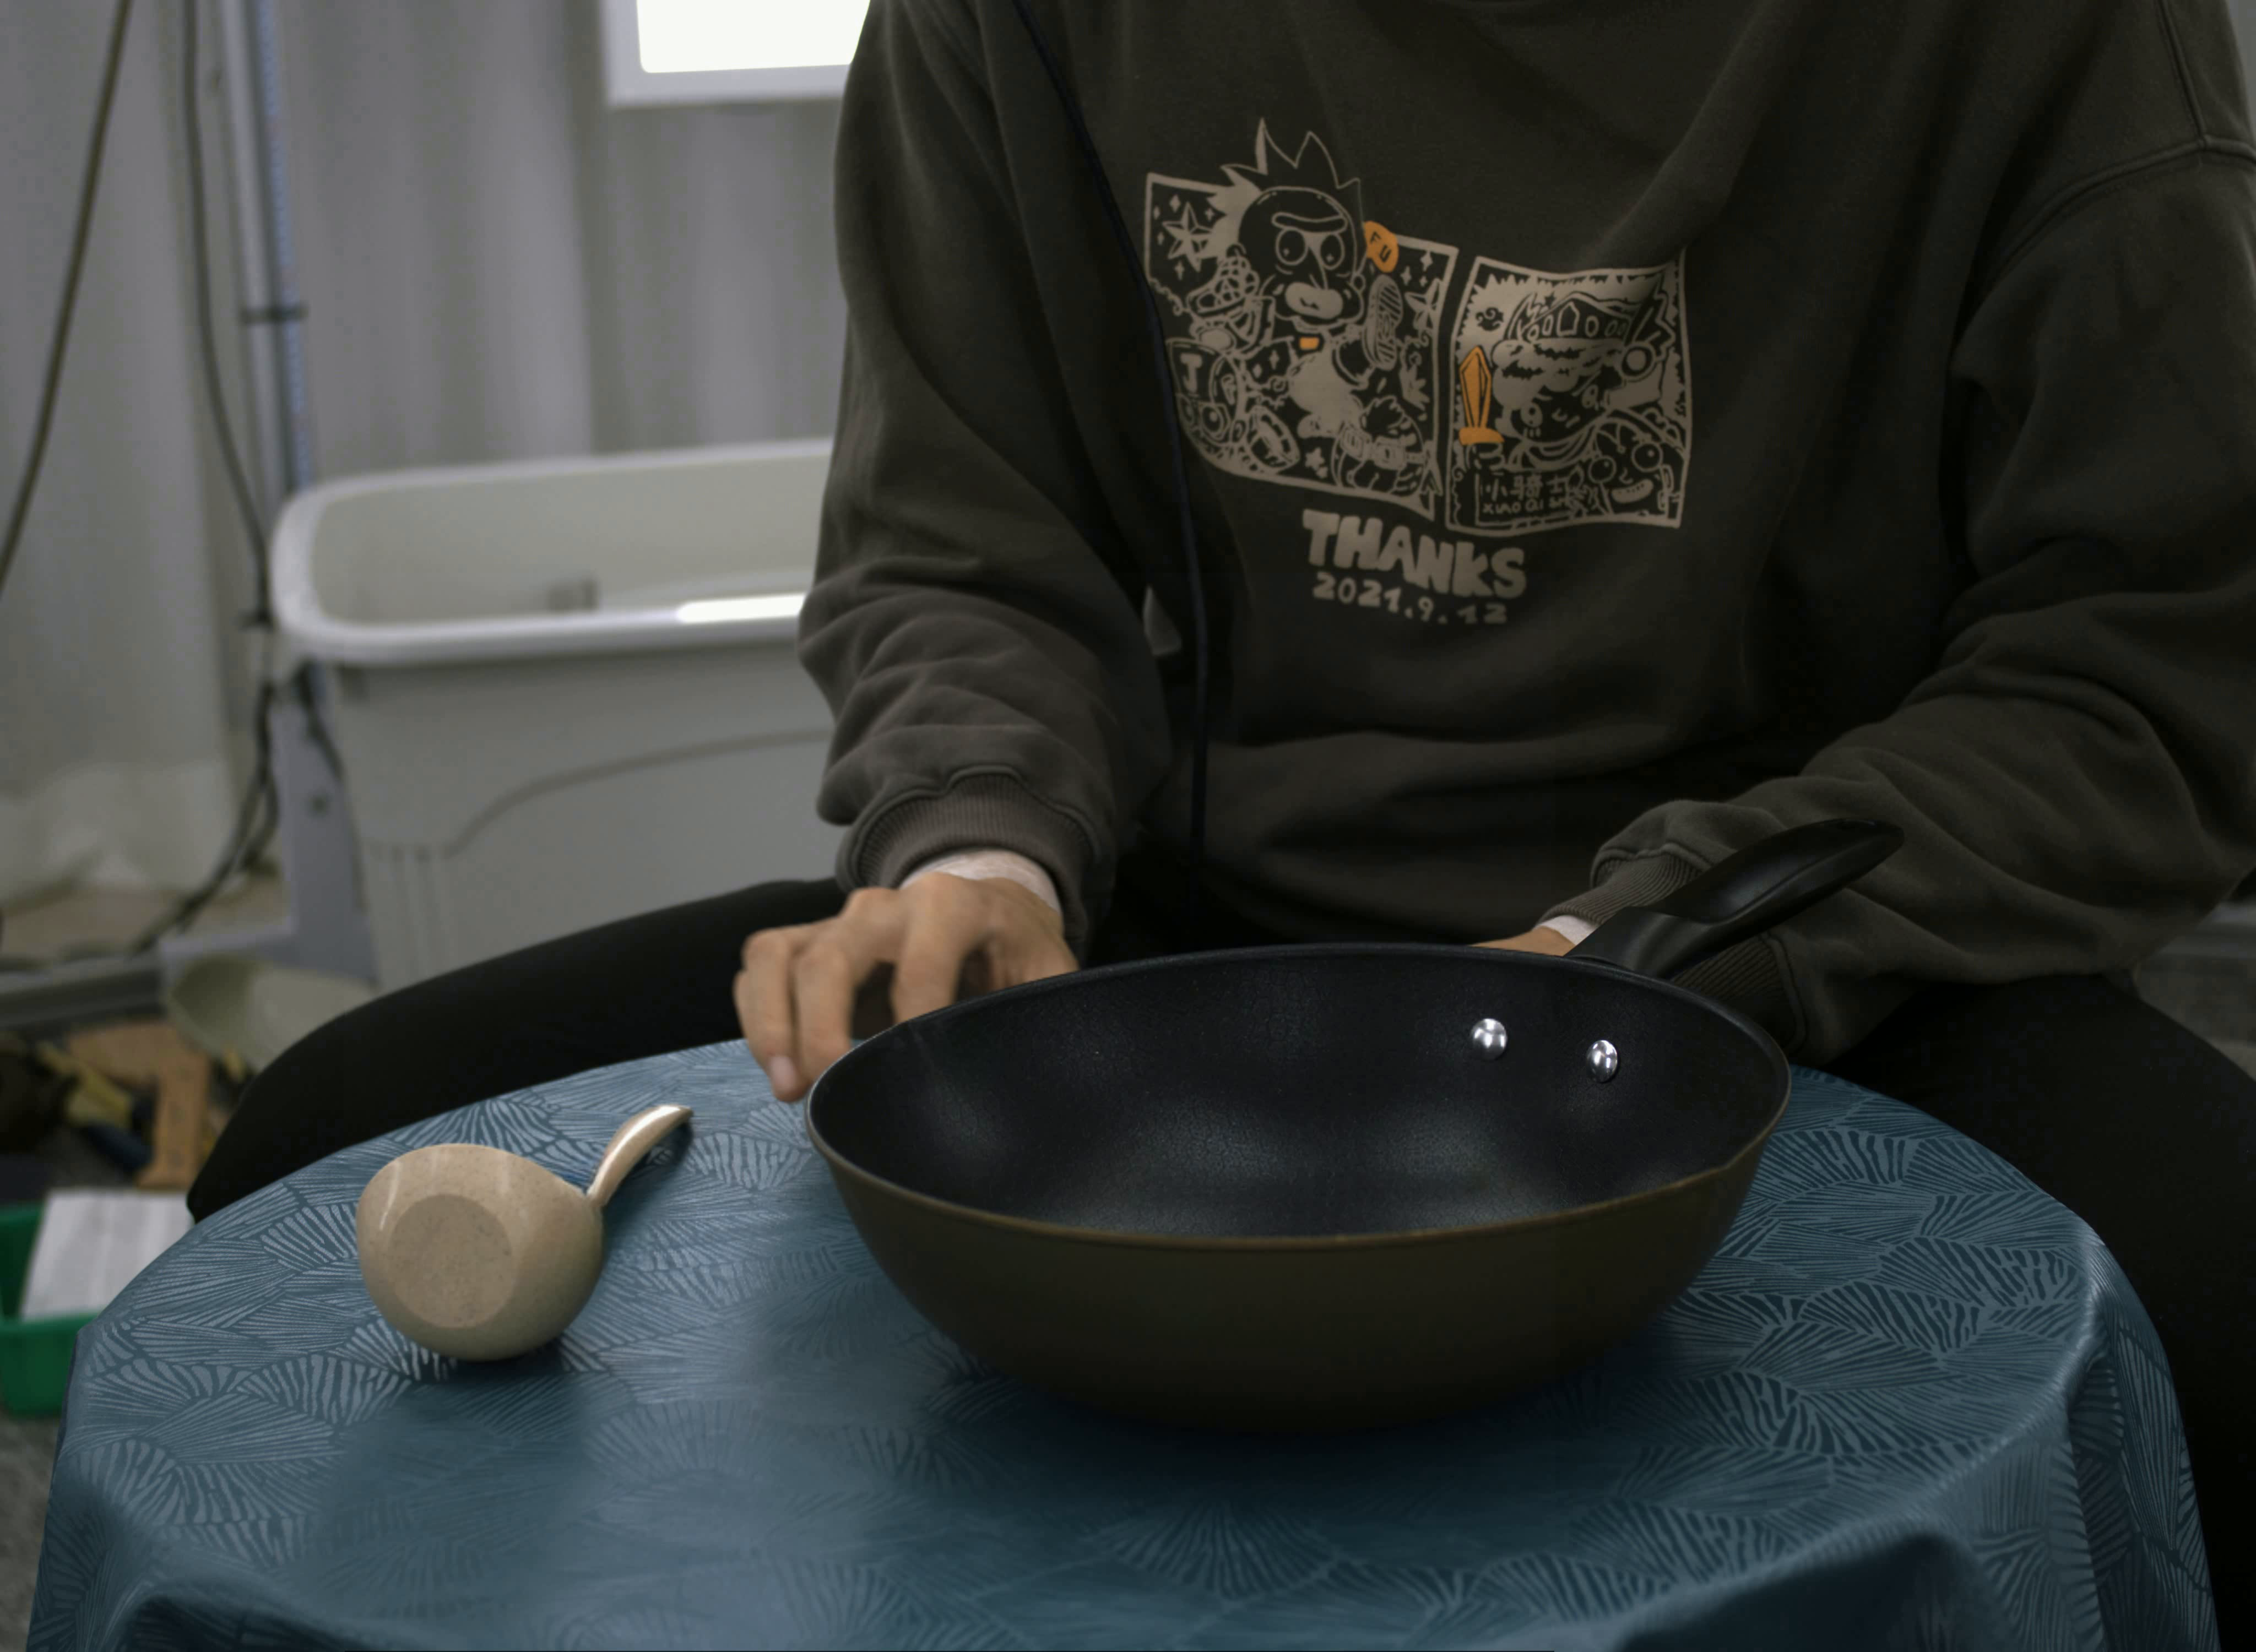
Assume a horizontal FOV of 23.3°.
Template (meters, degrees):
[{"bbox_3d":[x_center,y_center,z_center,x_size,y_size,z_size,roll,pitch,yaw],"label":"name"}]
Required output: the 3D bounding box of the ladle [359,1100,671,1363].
[{"bbox_3d":[-0.178,0.095,1.690,0.072,0.072,0.256,-11,14,9],"label":"ladle"}]

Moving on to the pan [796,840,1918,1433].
[{"bbox_3d":[0.103,0.089,1.639,0.289,0.086,0.463,8,18,37],"label":"pan"}]
